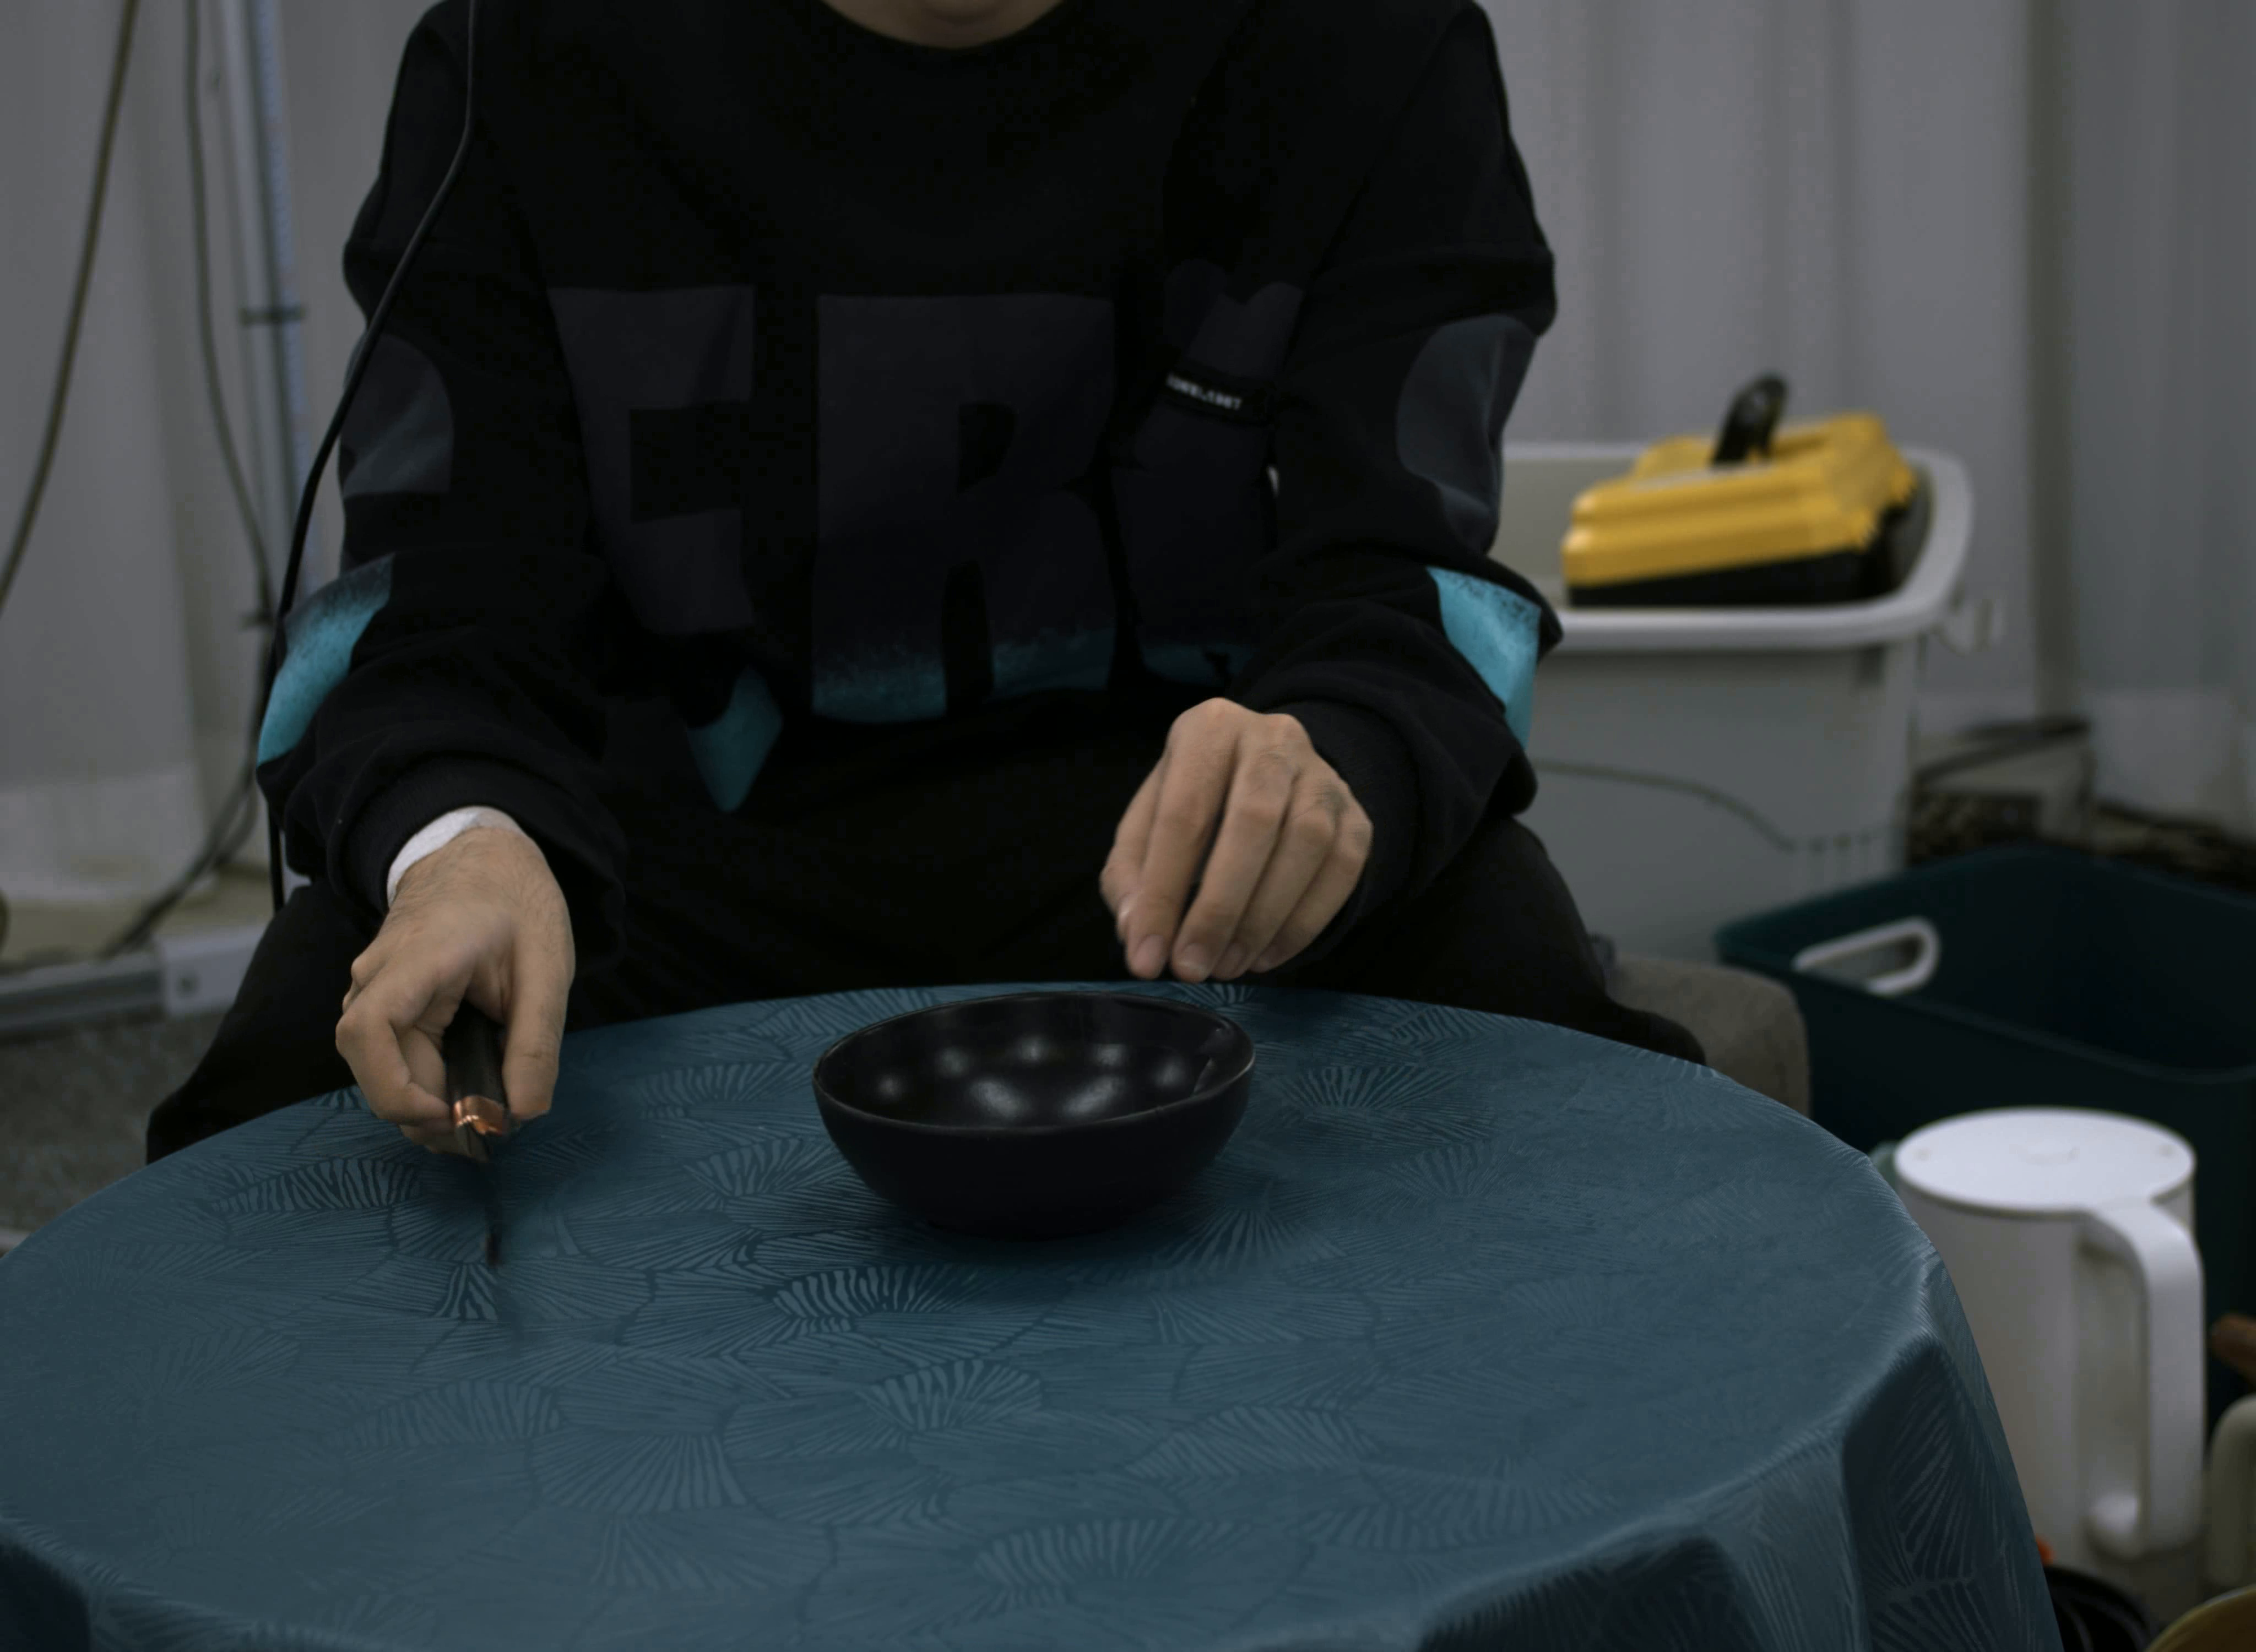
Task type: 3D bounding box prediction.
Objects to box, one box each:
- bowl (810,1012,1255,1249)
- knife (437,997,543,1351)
[{"bbox_3d":[-0.028,0.098,1.699,0.139,0.049,0.141,-5,11,1],"label":"bowl"},{"bbox_3d":[-0.198,0.106,1.702,0.017,0.026,0.228,-28,25,0],"label":"knife"}]
